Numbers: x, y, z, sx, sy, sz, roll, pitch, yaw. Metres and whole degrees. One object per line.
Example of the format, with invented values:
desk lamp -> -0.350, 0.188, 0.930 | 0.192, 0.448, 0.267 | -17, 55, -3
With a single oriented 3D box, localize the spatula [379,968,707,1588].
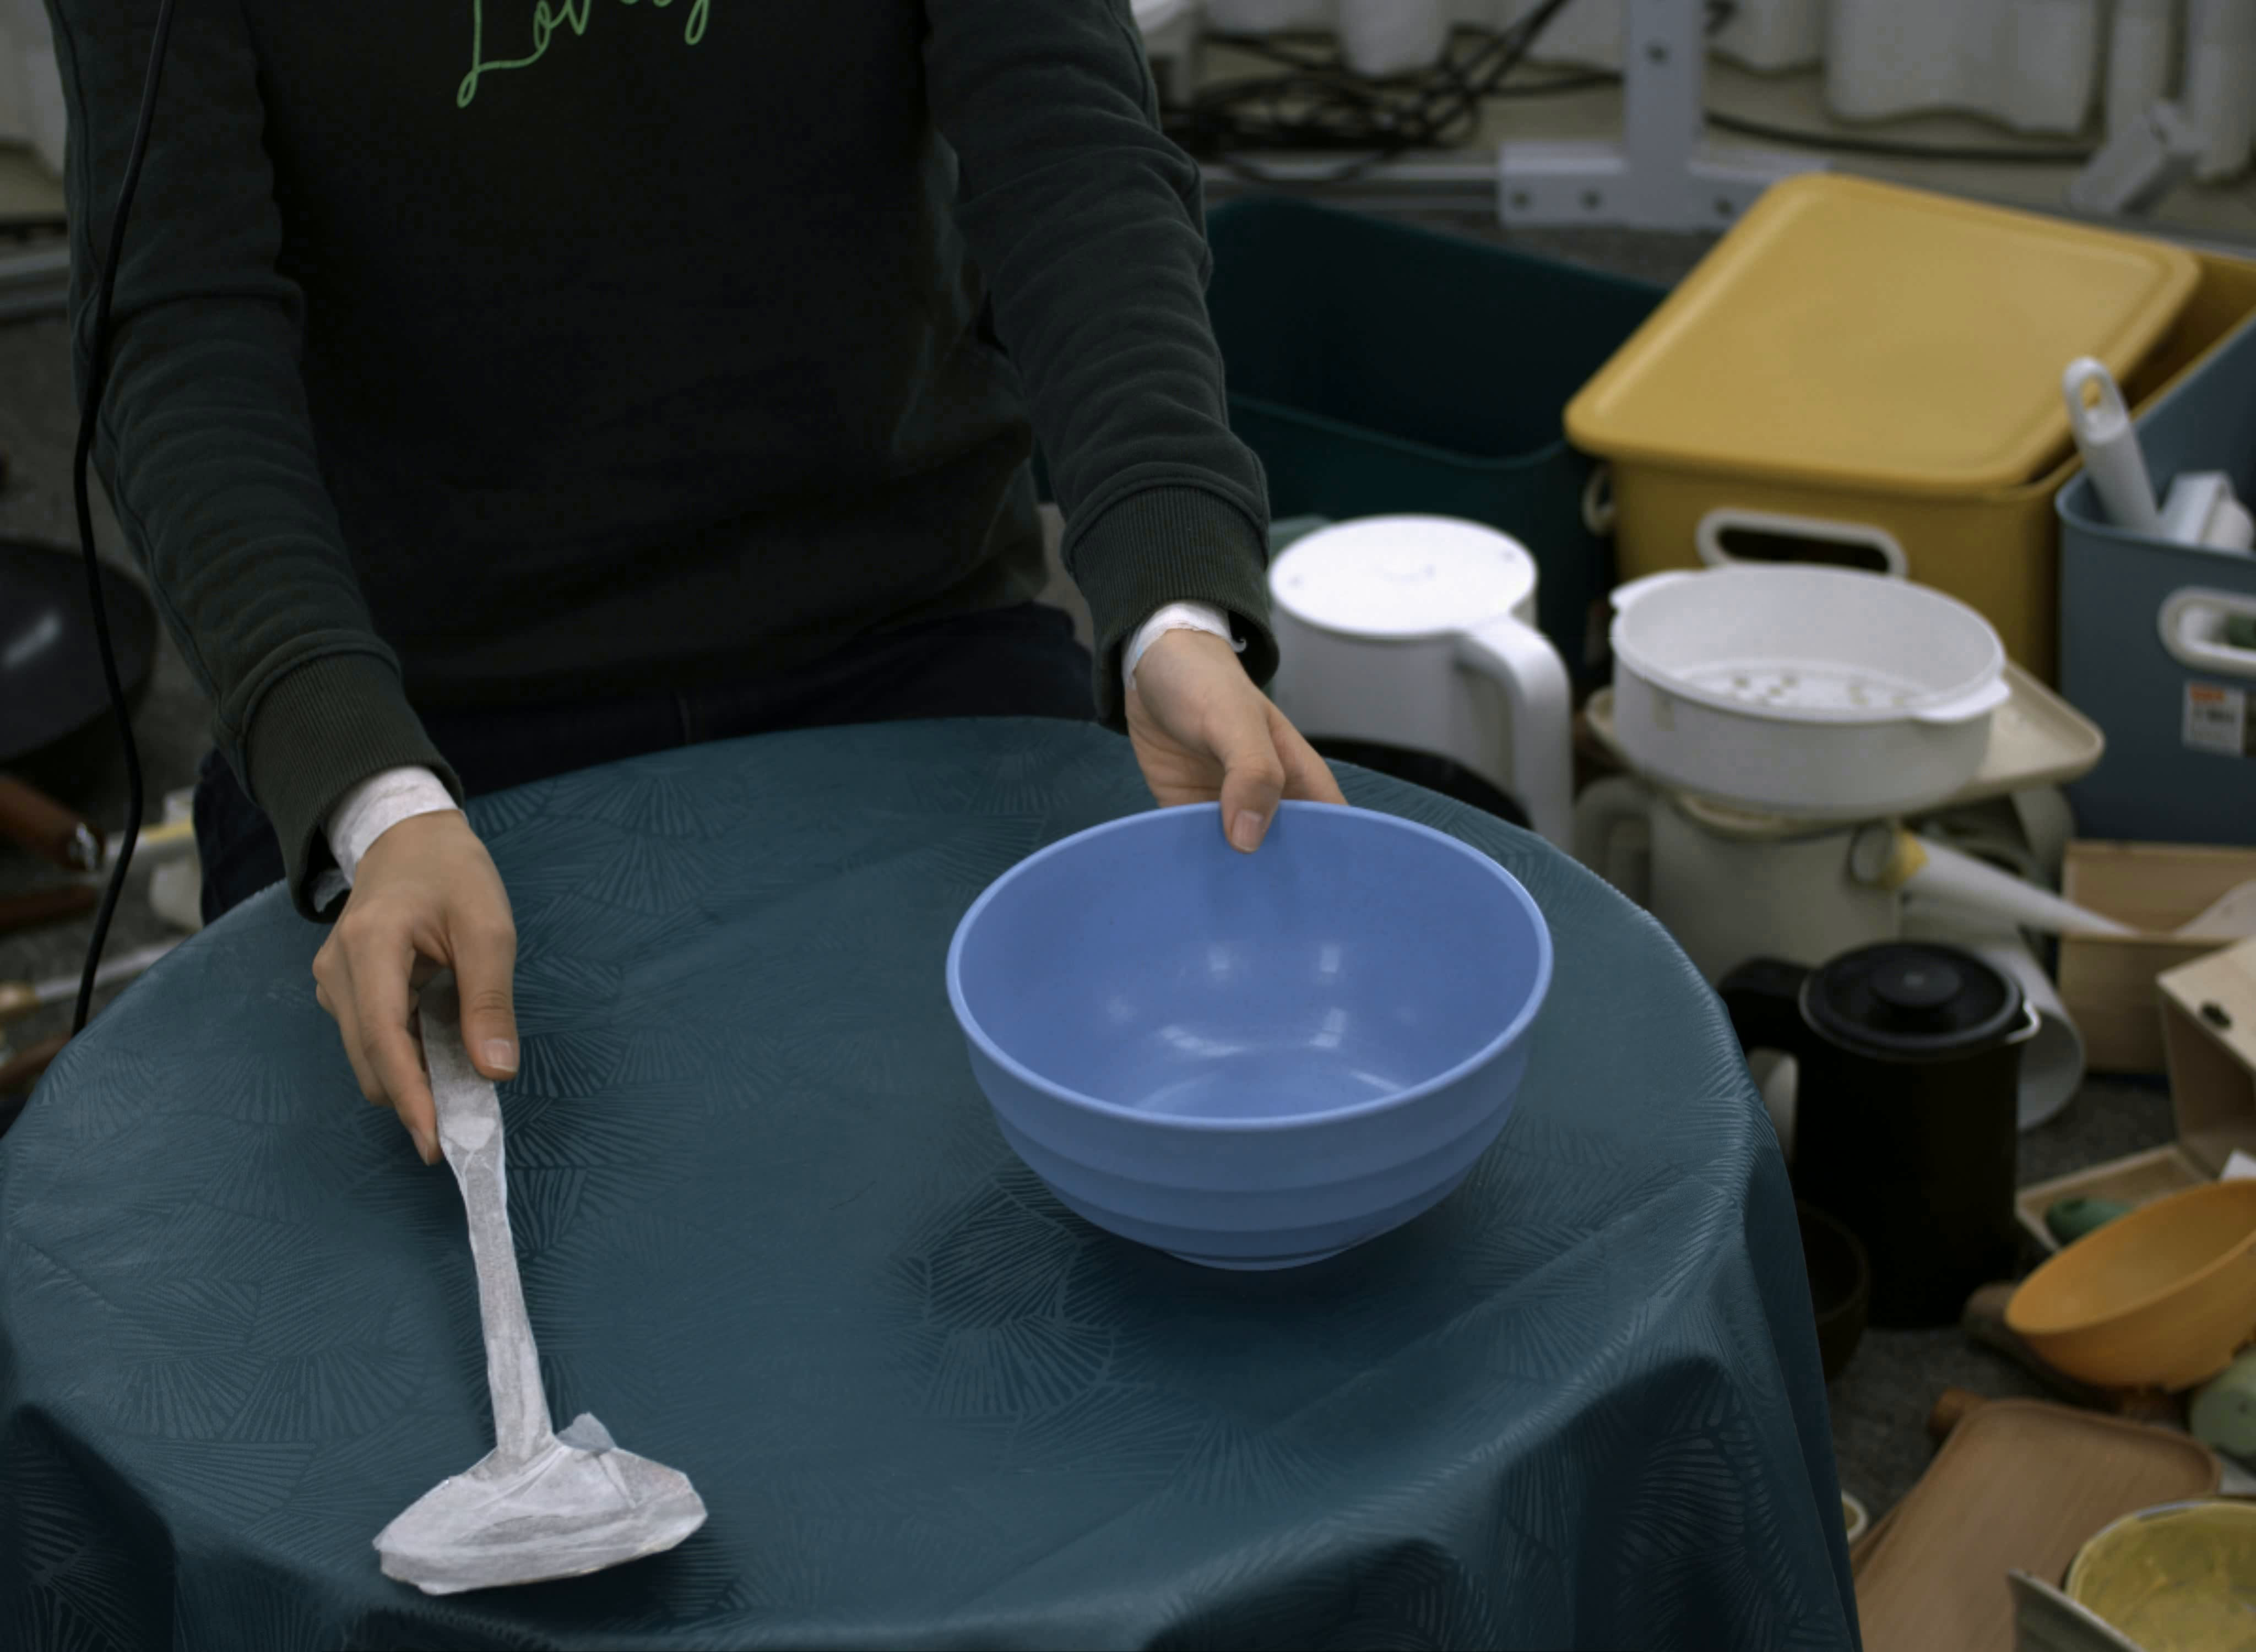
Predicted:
spatula -> -0.199, 0.134, 1.790 | 0.098, 0.044, 0.370 | -10, 34, -6

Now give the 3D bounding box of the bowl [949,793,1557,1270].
bowl -> 0.042, 0.080, 1.830 | 0.195, 0.094, 0.200 | -1, 31, 1
